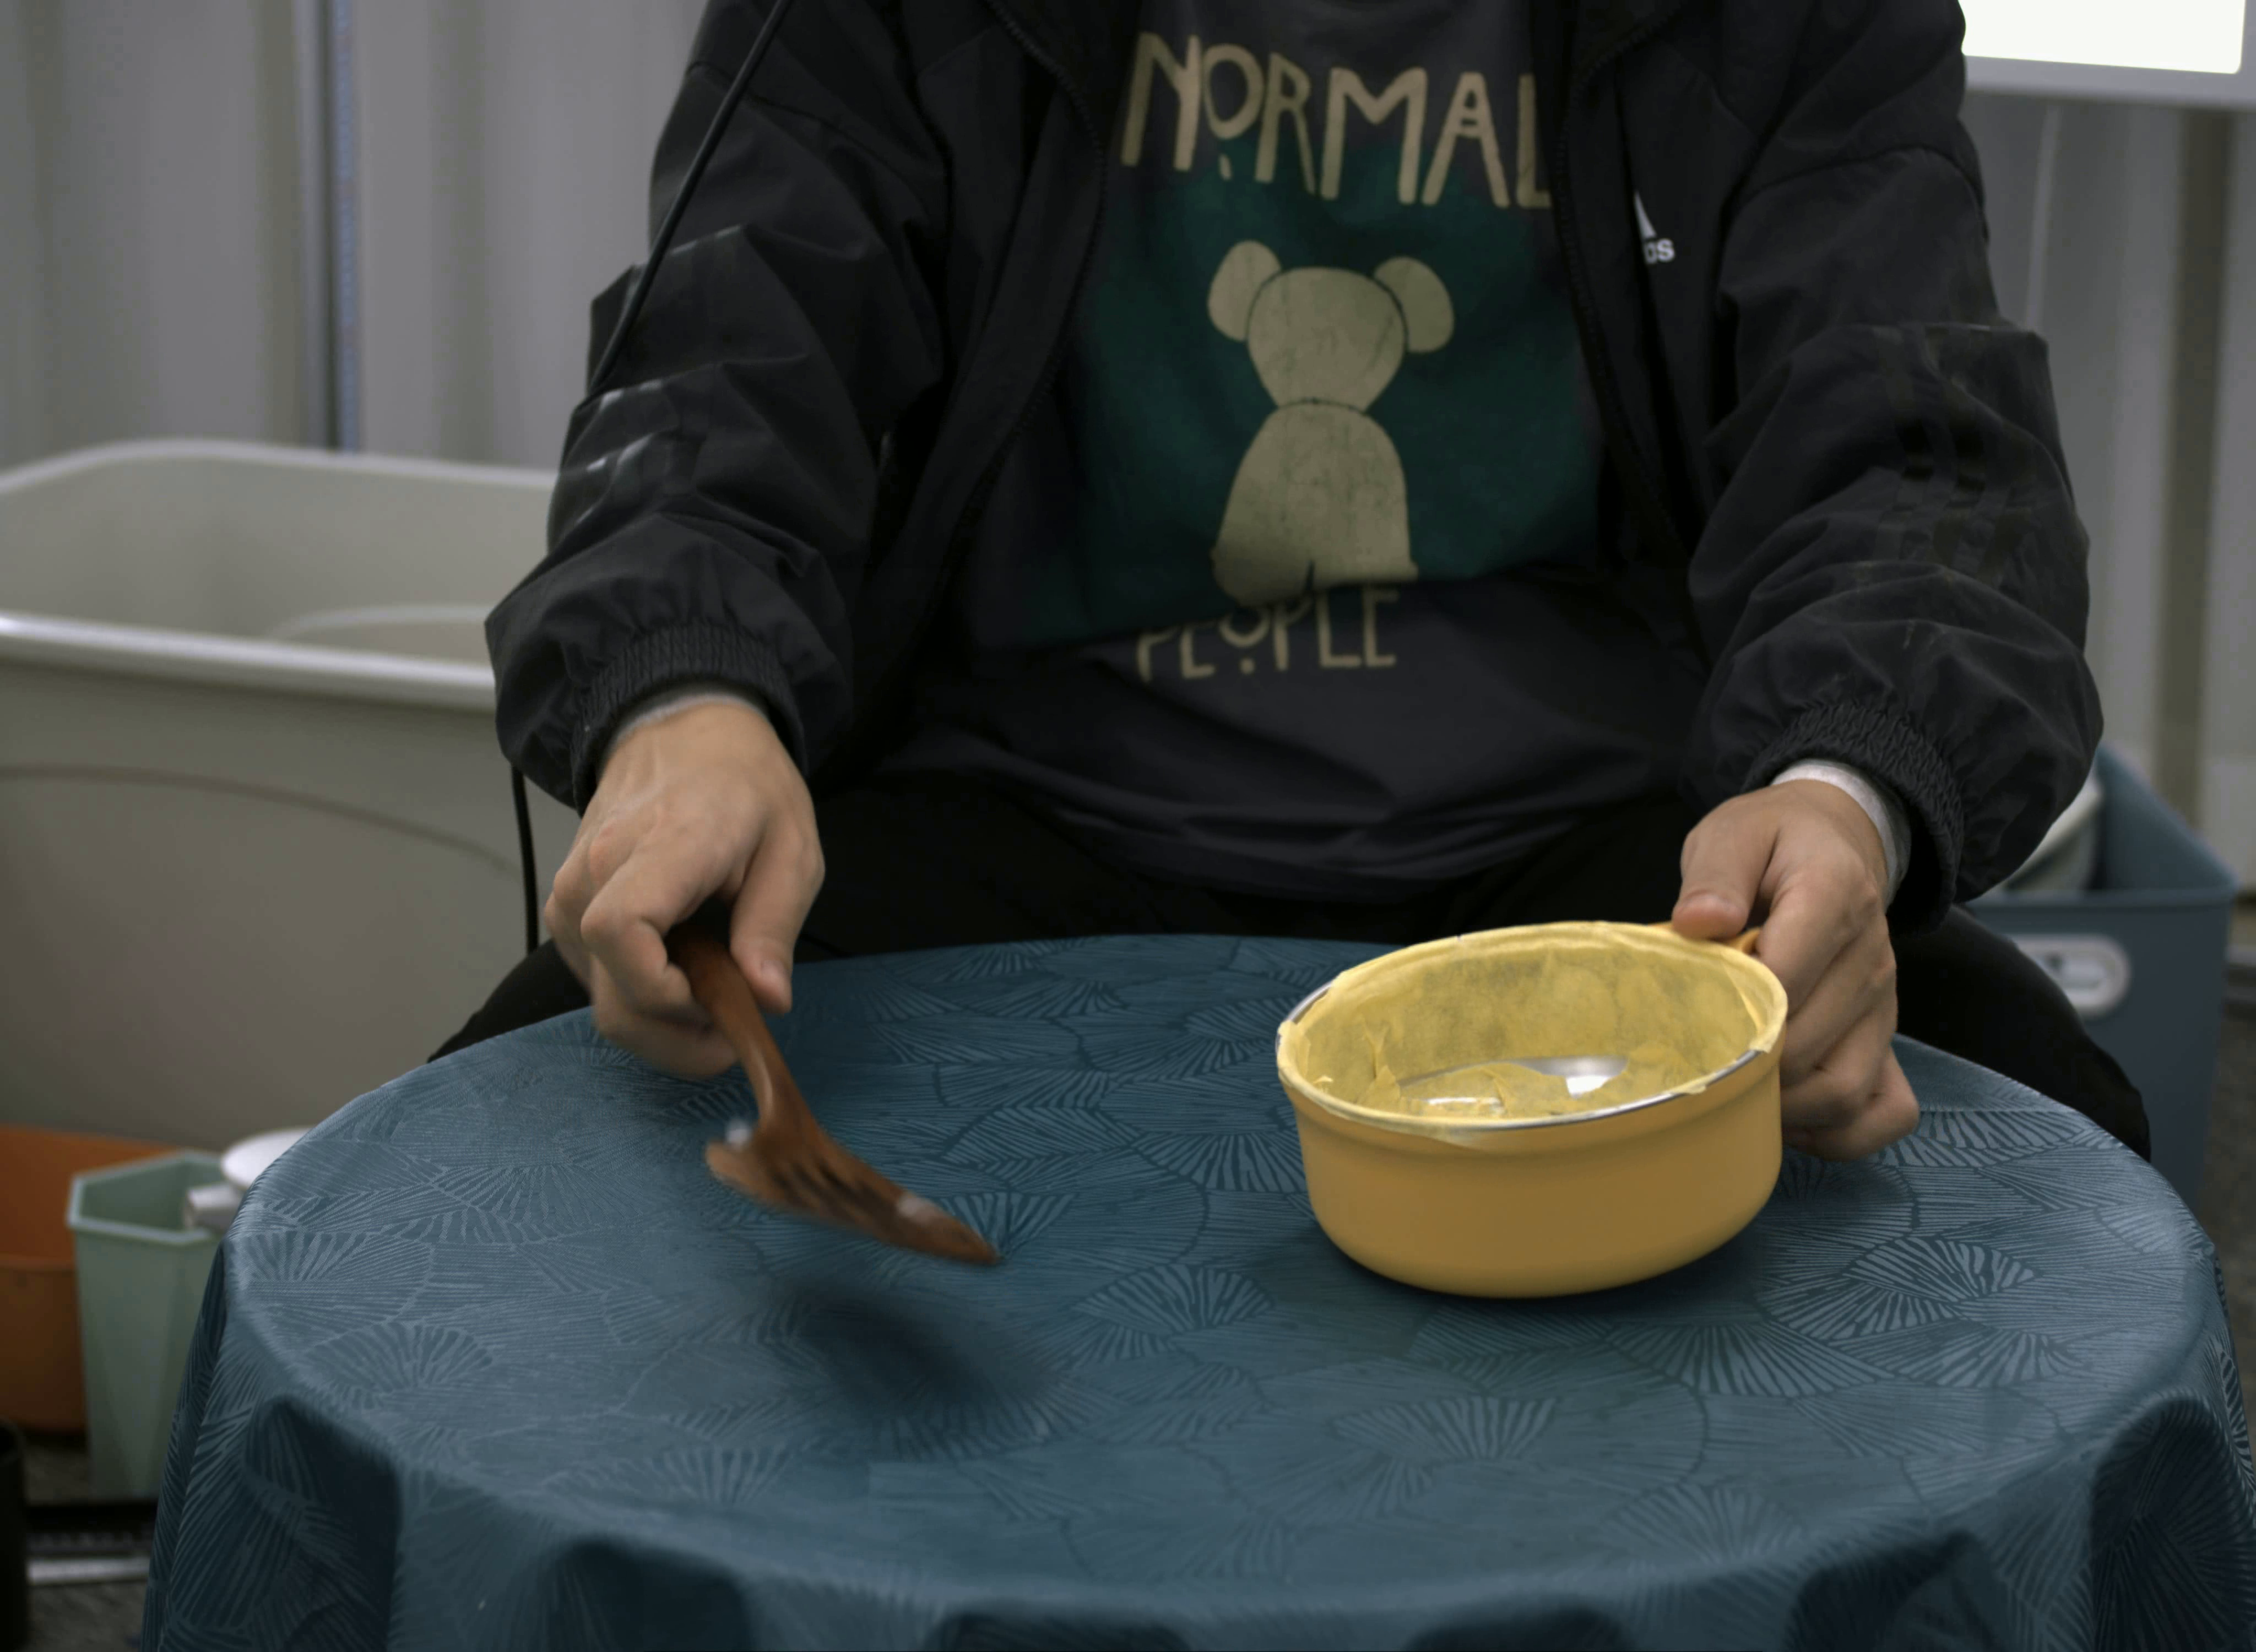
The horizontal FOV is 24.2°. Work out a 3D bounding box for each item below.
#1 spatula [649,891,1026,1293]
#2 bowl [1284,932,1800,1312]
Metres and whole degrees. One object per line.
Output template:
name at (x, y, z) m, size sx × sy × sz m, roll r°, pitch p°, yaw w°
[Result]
spatula at (-0.109, 0.078, 1.606) m, size 0.086 × 0.024 × 0.383 m, roll 14°, pitch 12°, yaw -17°
bowl at (0.134, 0.086, 1.581) m, size 0.151 × 0.075 × 0.180 m, roll 11°, pitch 26°, yaw 37°
